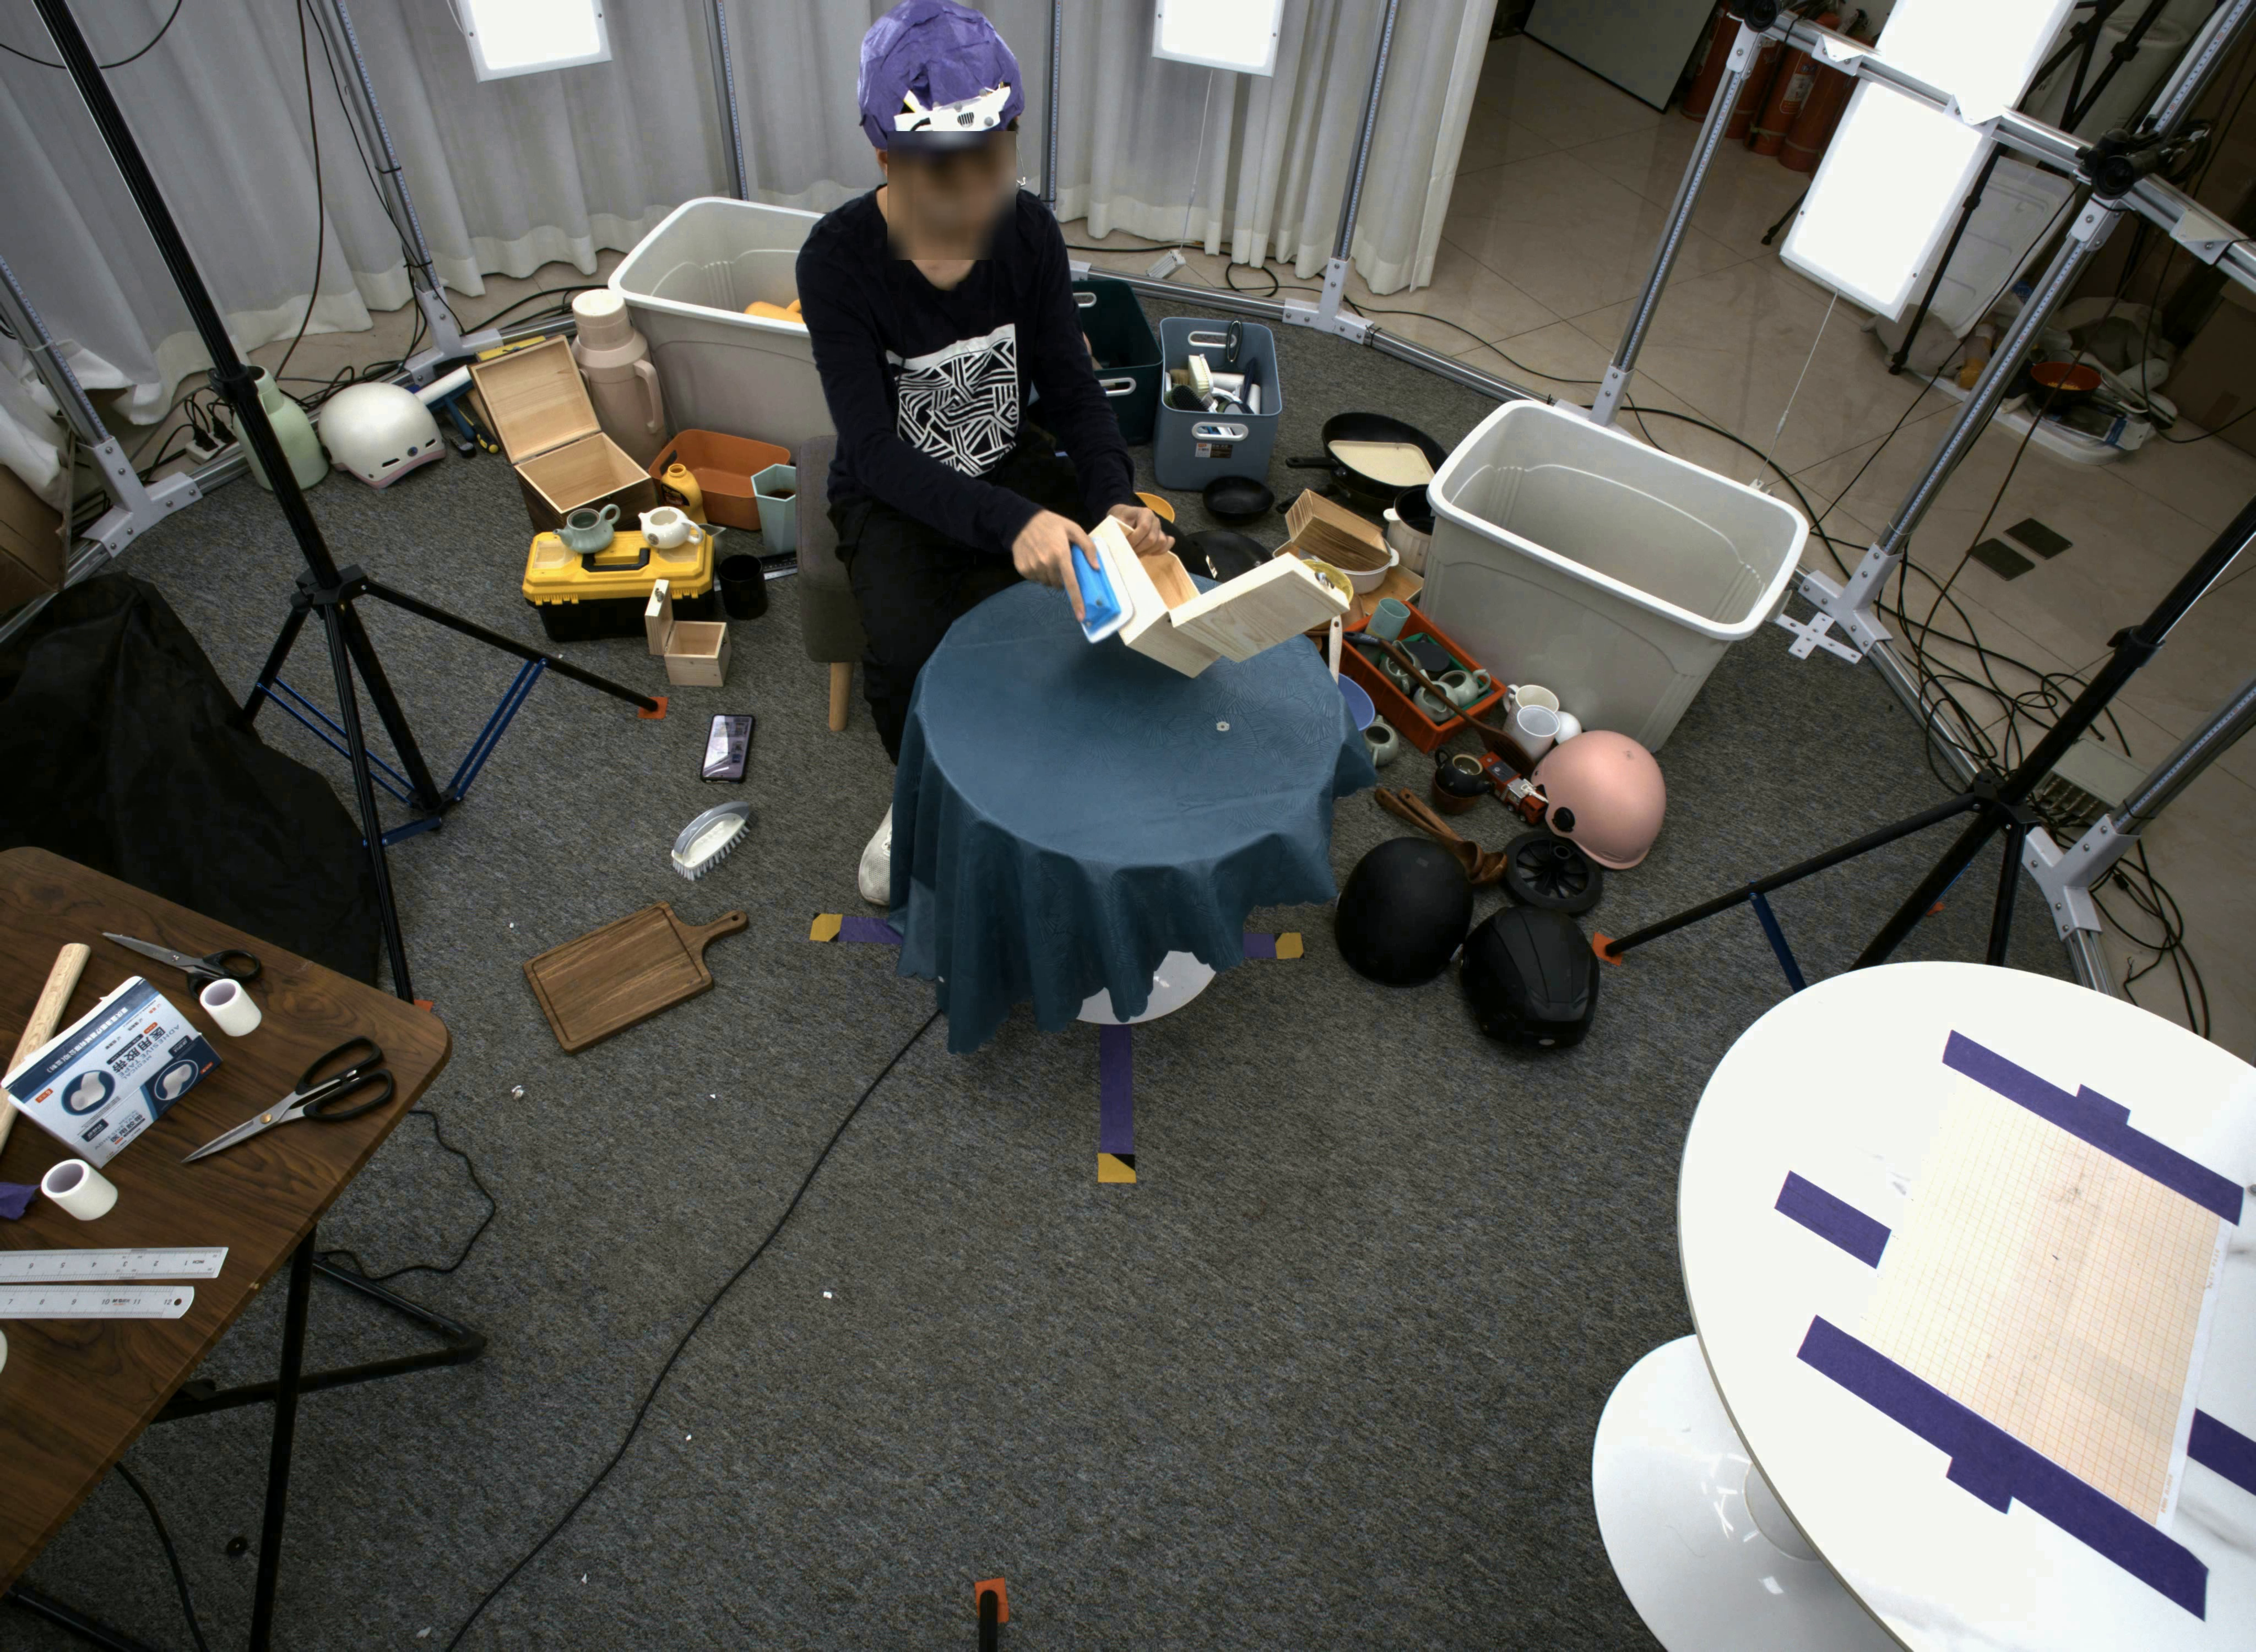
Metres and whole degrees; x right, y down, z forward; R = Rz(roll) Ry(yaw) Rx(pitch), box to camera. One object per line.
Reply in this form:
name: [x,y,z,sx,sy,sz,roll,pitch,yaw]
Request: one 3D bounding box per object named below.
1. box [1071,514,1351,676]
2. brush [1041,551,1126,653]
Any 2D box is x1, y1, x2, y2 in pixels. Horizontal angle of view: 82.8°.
box: [0.113,-0.348,1.769,0.180,0.251,0.270,17,39,-56]
brush: [-0.066,-0.309,1.744,0.083,0.055,0.146,-36,64,13]
